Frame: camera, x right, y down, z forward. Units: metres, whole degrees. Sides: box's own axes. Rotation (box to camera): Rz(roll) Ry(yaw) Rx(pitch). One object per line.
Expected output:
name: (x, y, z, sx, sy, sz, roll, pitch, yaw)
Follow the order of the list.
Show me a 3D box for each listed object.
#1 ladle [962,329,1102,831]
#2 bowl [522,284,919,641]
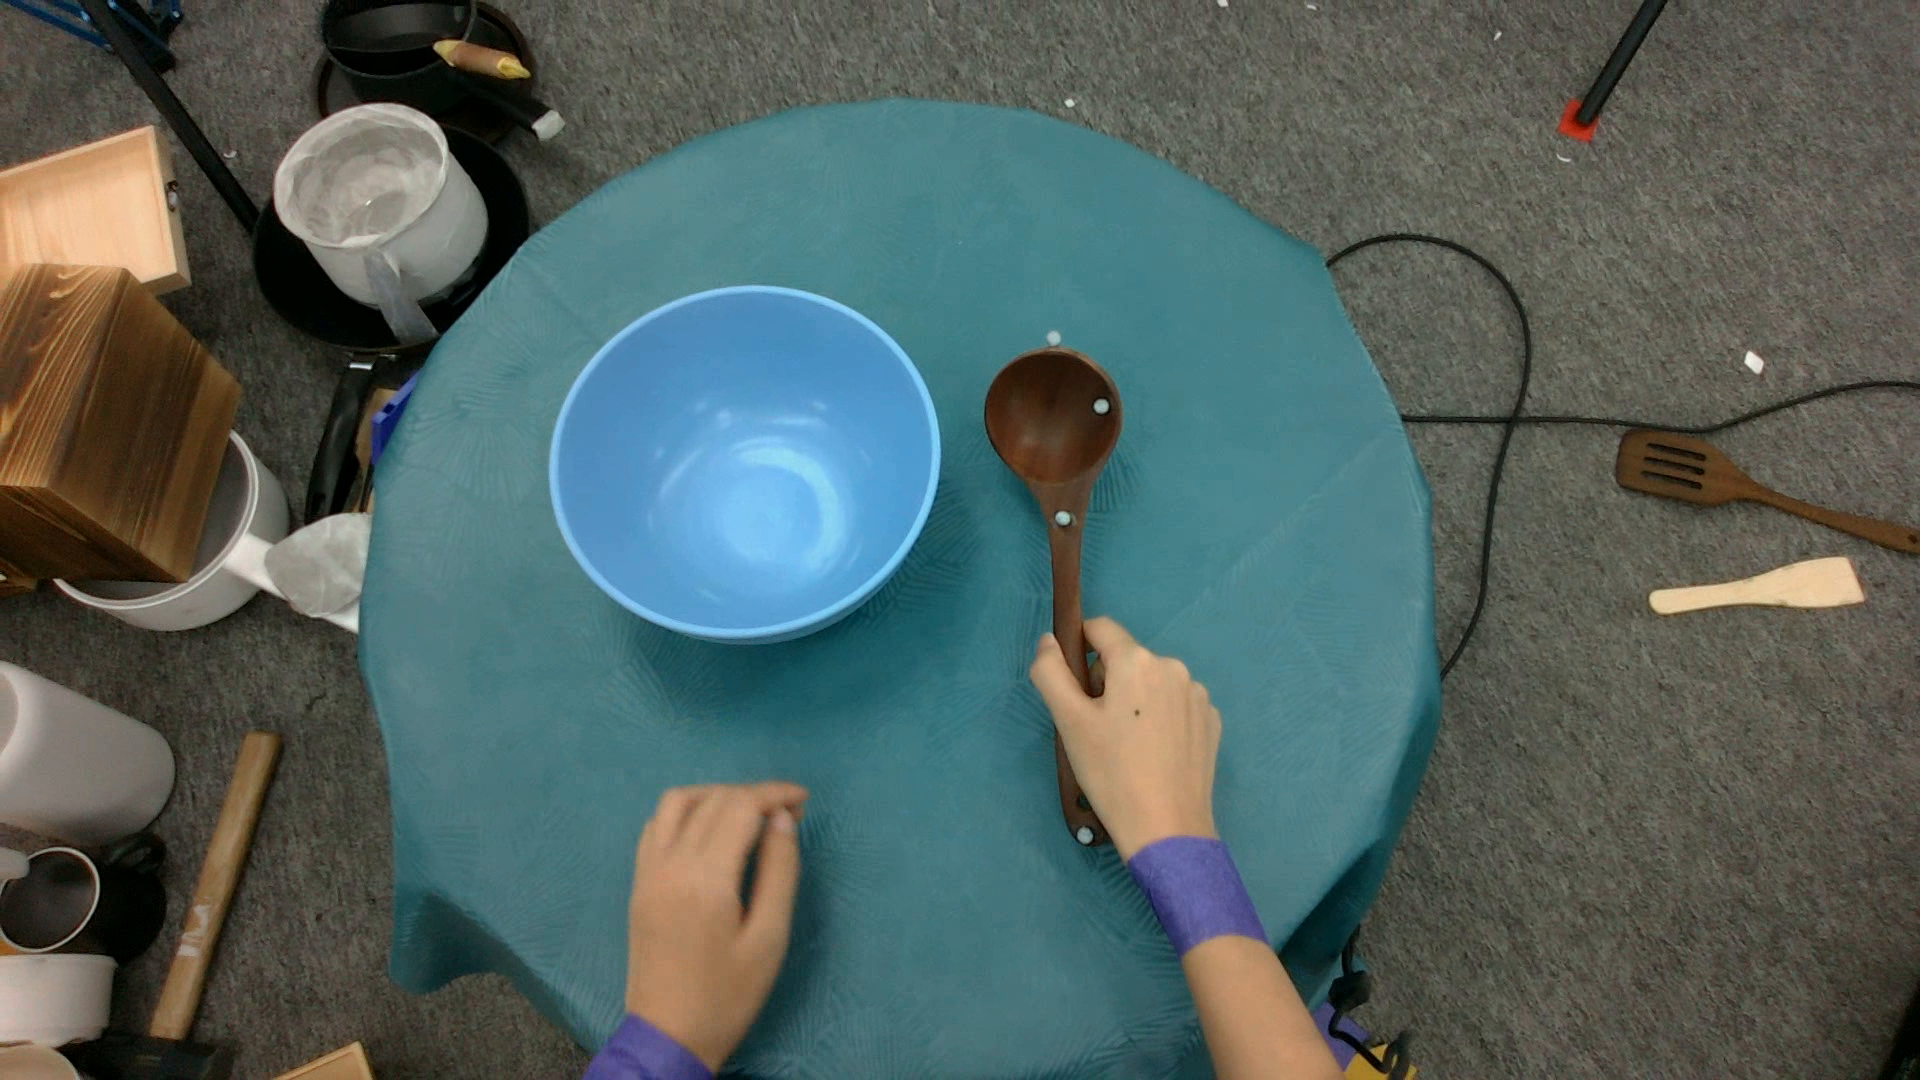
ladle: (0.043, 0.016, 0.710, 0.076, 0.065, 0.261, -10, 69, 20)
bowl: (-0.123, -0.028, 0.730, 0.196, 0.095, 0.197, 3, 64, -6)
